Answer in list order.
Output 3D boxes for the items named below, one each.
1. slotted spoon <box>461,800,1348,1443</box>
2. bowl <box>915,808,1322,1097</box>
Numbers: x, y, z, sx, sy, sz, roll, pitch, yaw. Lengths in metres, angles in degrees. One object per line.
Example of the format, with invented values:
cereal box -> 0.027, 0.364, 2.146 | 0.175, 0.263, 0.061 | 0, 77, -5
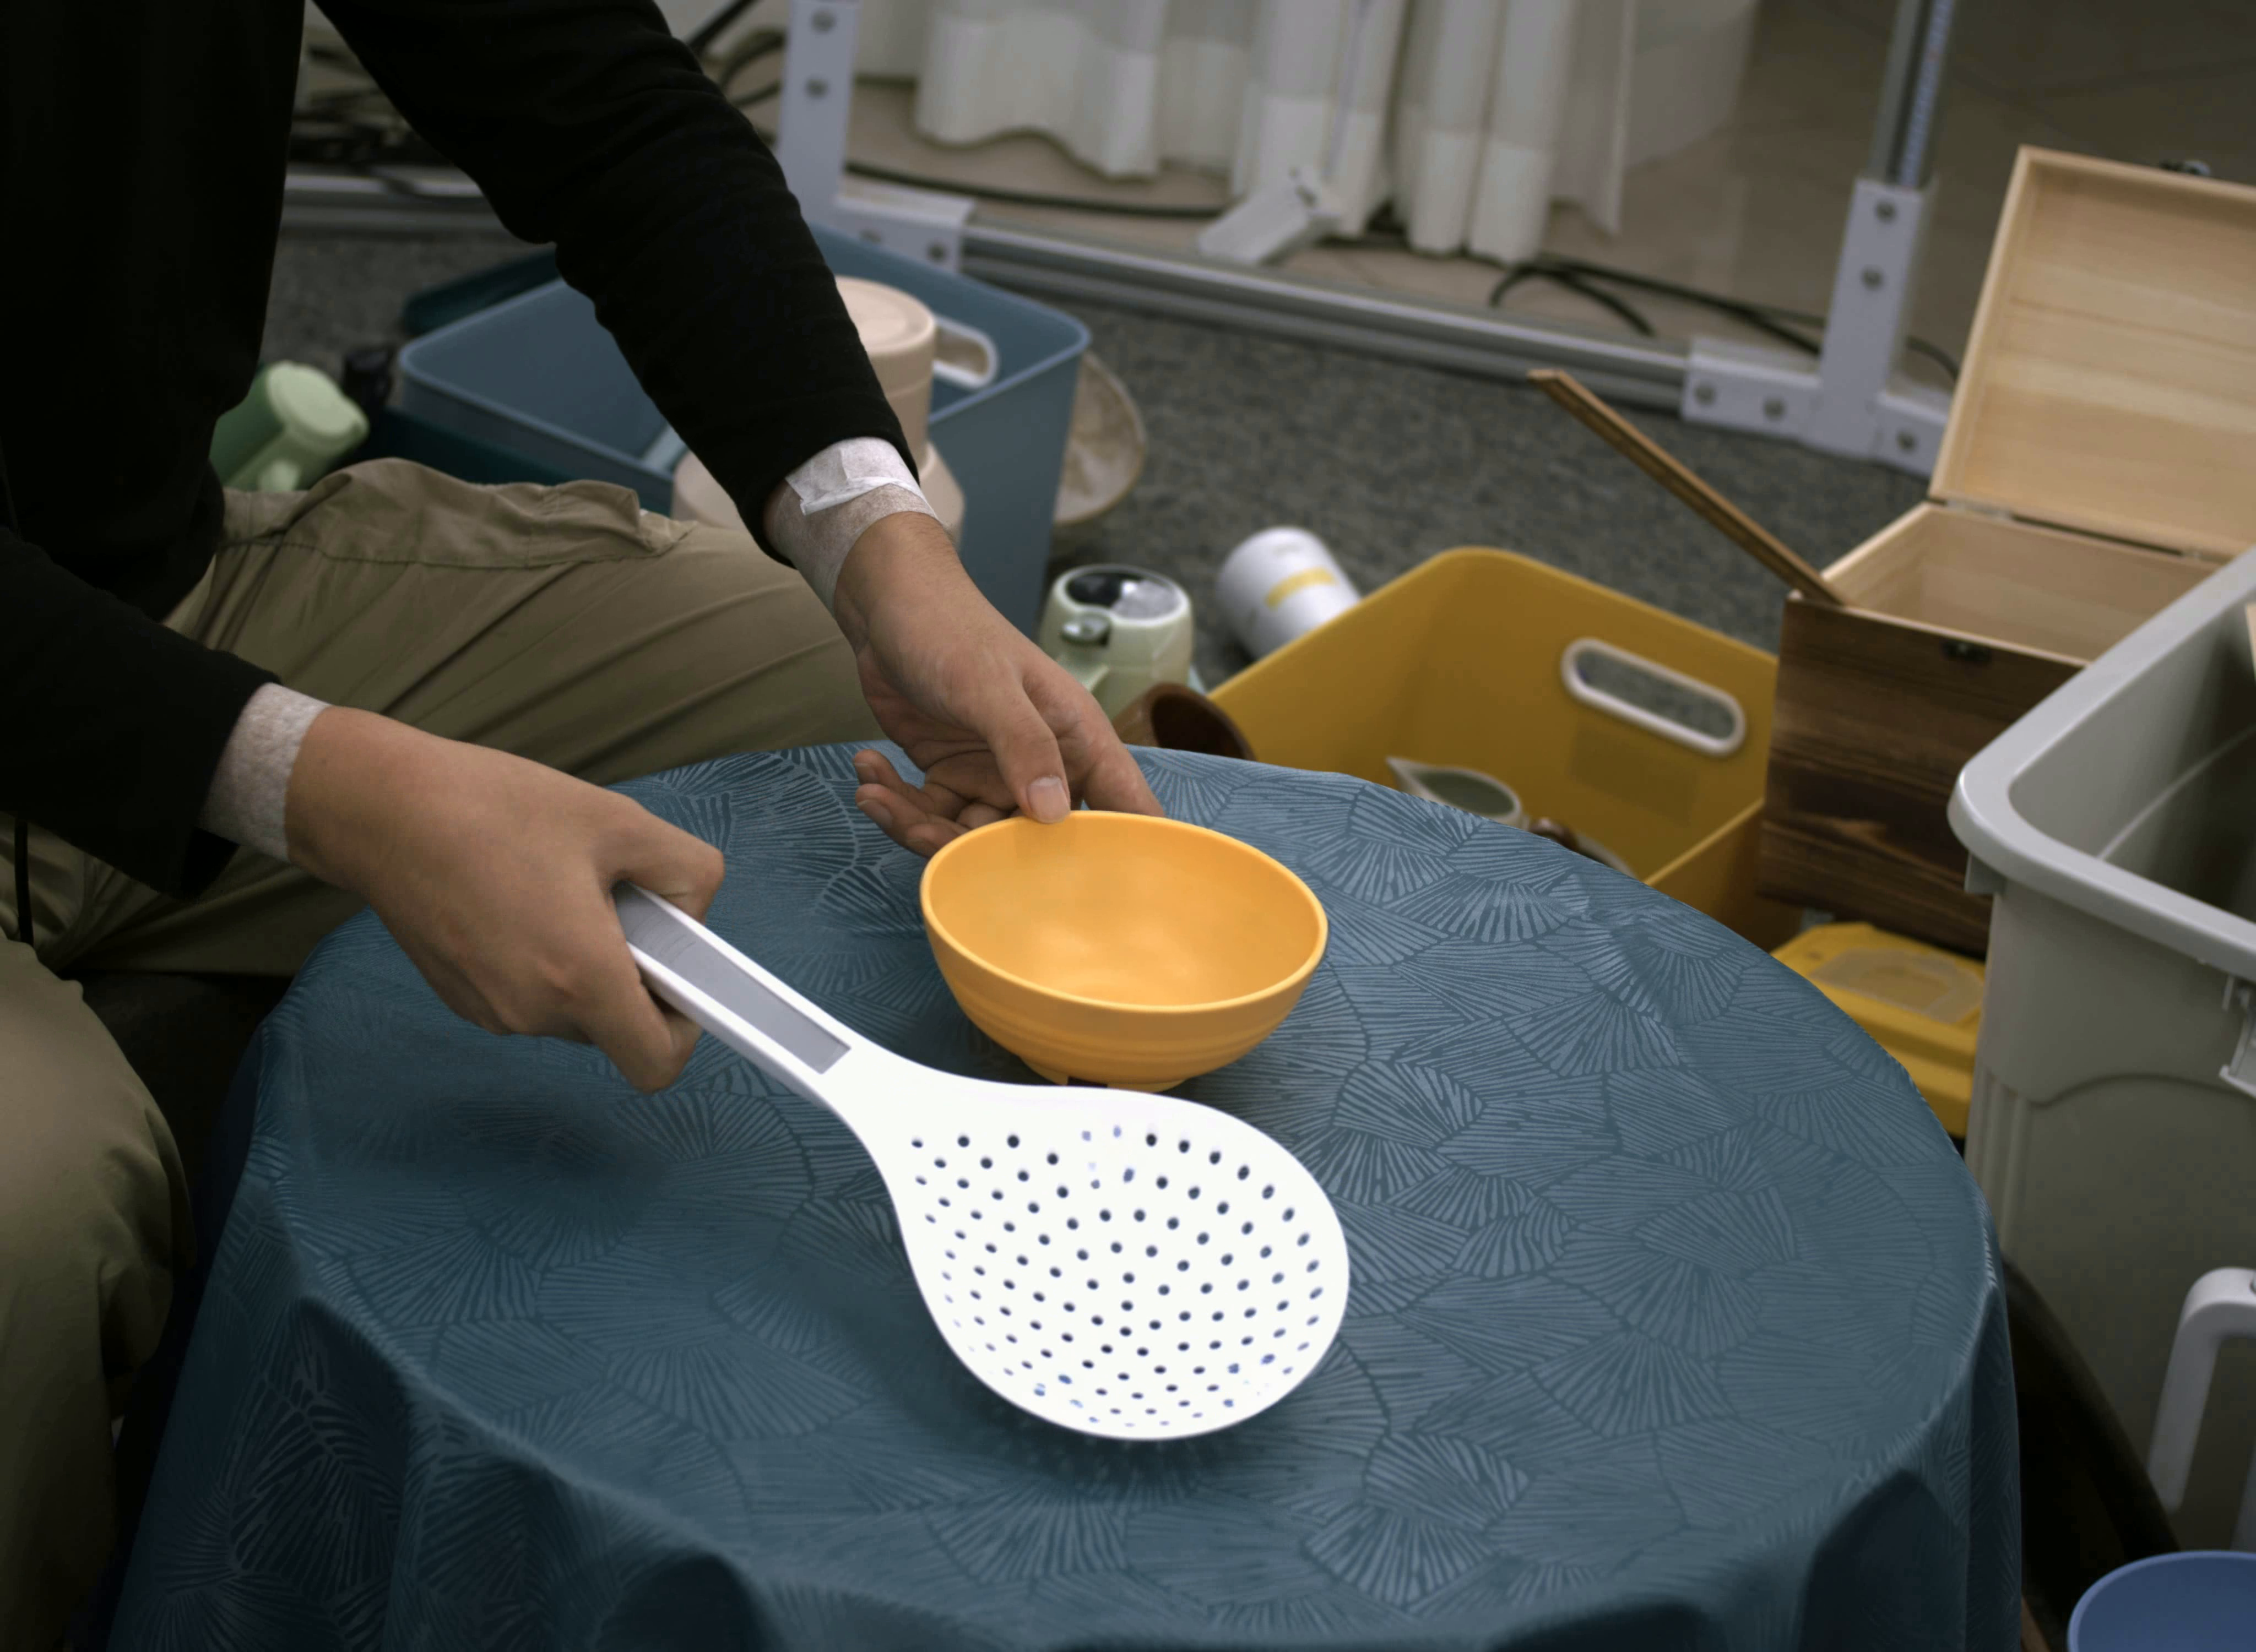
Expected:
slotted spoon -> -0.083, 0.088, 1.728 | 0.351, 0.045, 0.136 | 35, 56, 19
bowl -> -0.007, 0.054, 1.875 | 0.145, 0.060, 0.146 | 7, 27, -4
